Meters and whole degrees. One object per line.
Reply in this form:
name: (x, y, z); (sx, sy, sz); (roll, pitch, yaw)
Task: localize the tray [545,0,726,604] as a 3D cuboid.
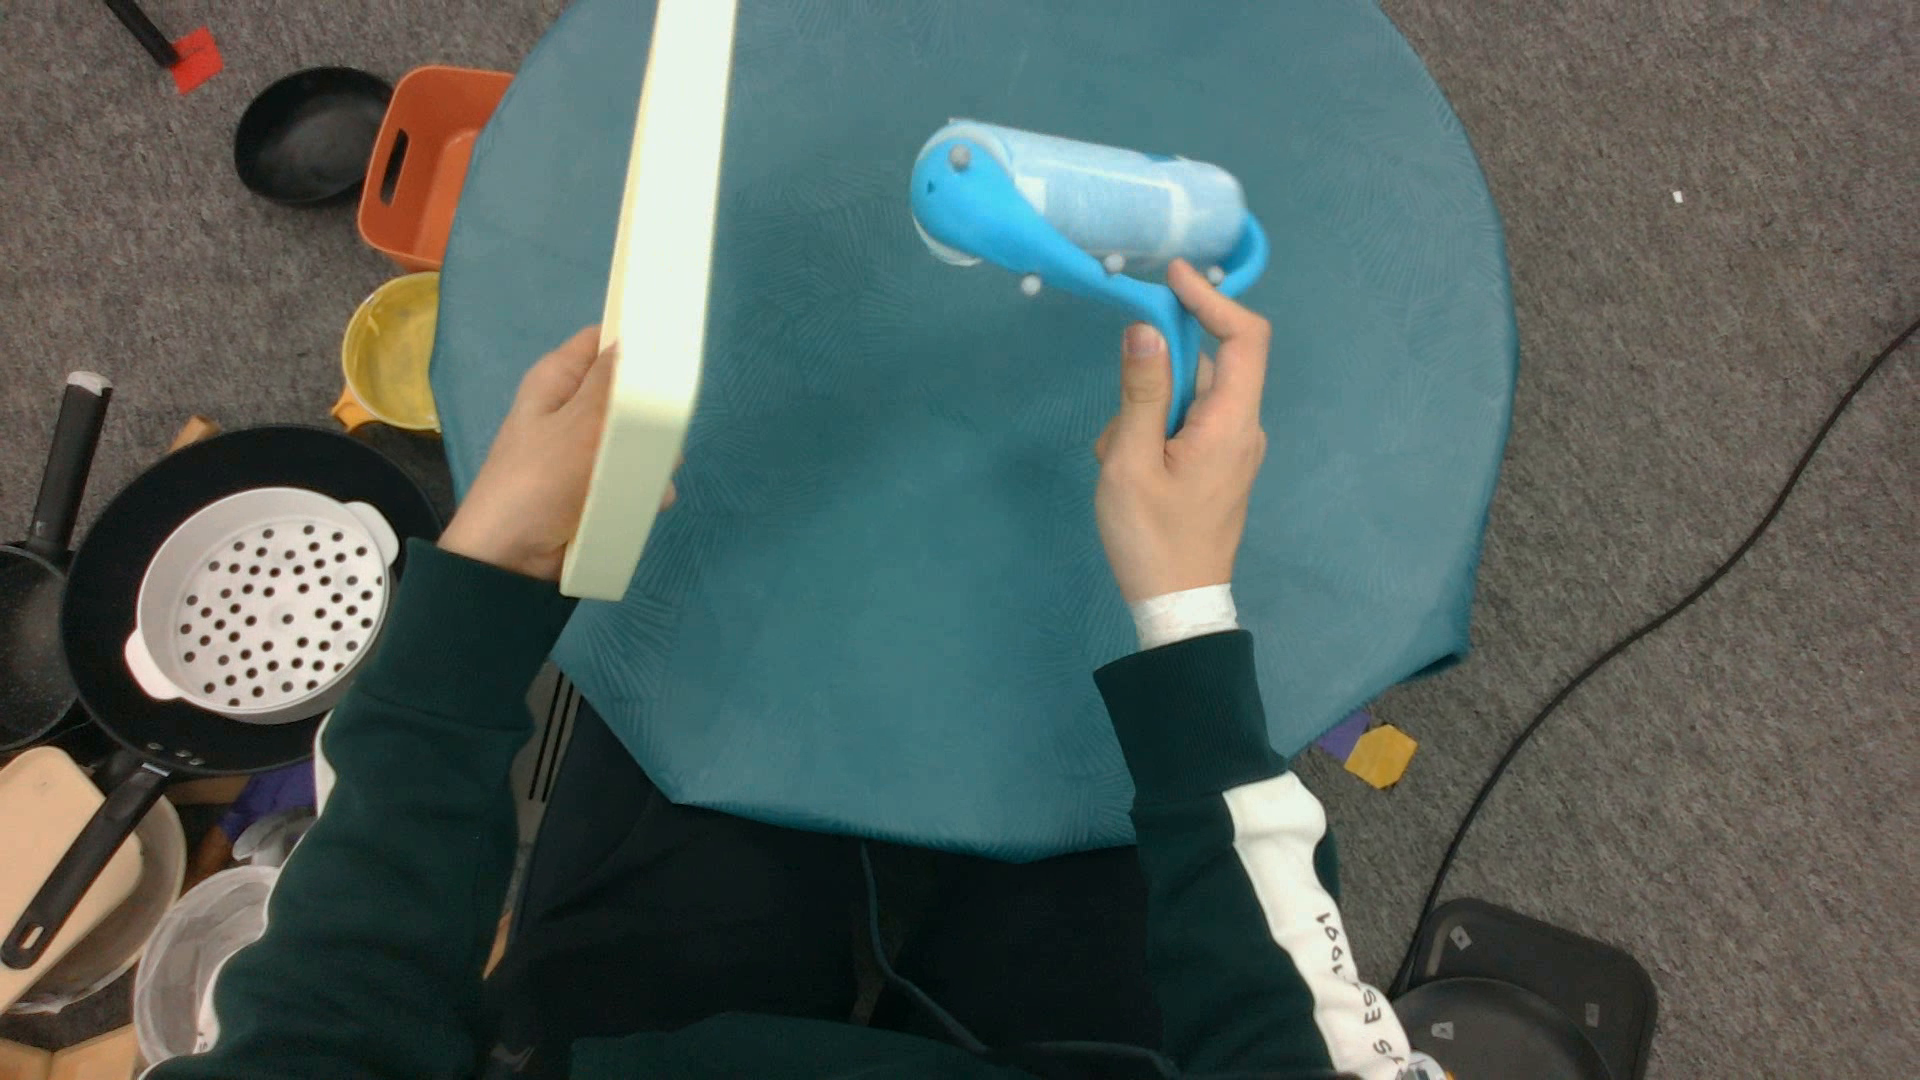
tray: (-0.136, -0.141, 0.587); (0.027, 0.190, 0.301); (9, 61, -21)

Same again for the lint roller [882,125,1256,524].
lint roller: (0.070, -0.101, 0.630); (0.230, 0.067, 0.180); (-17, 91, -47)
